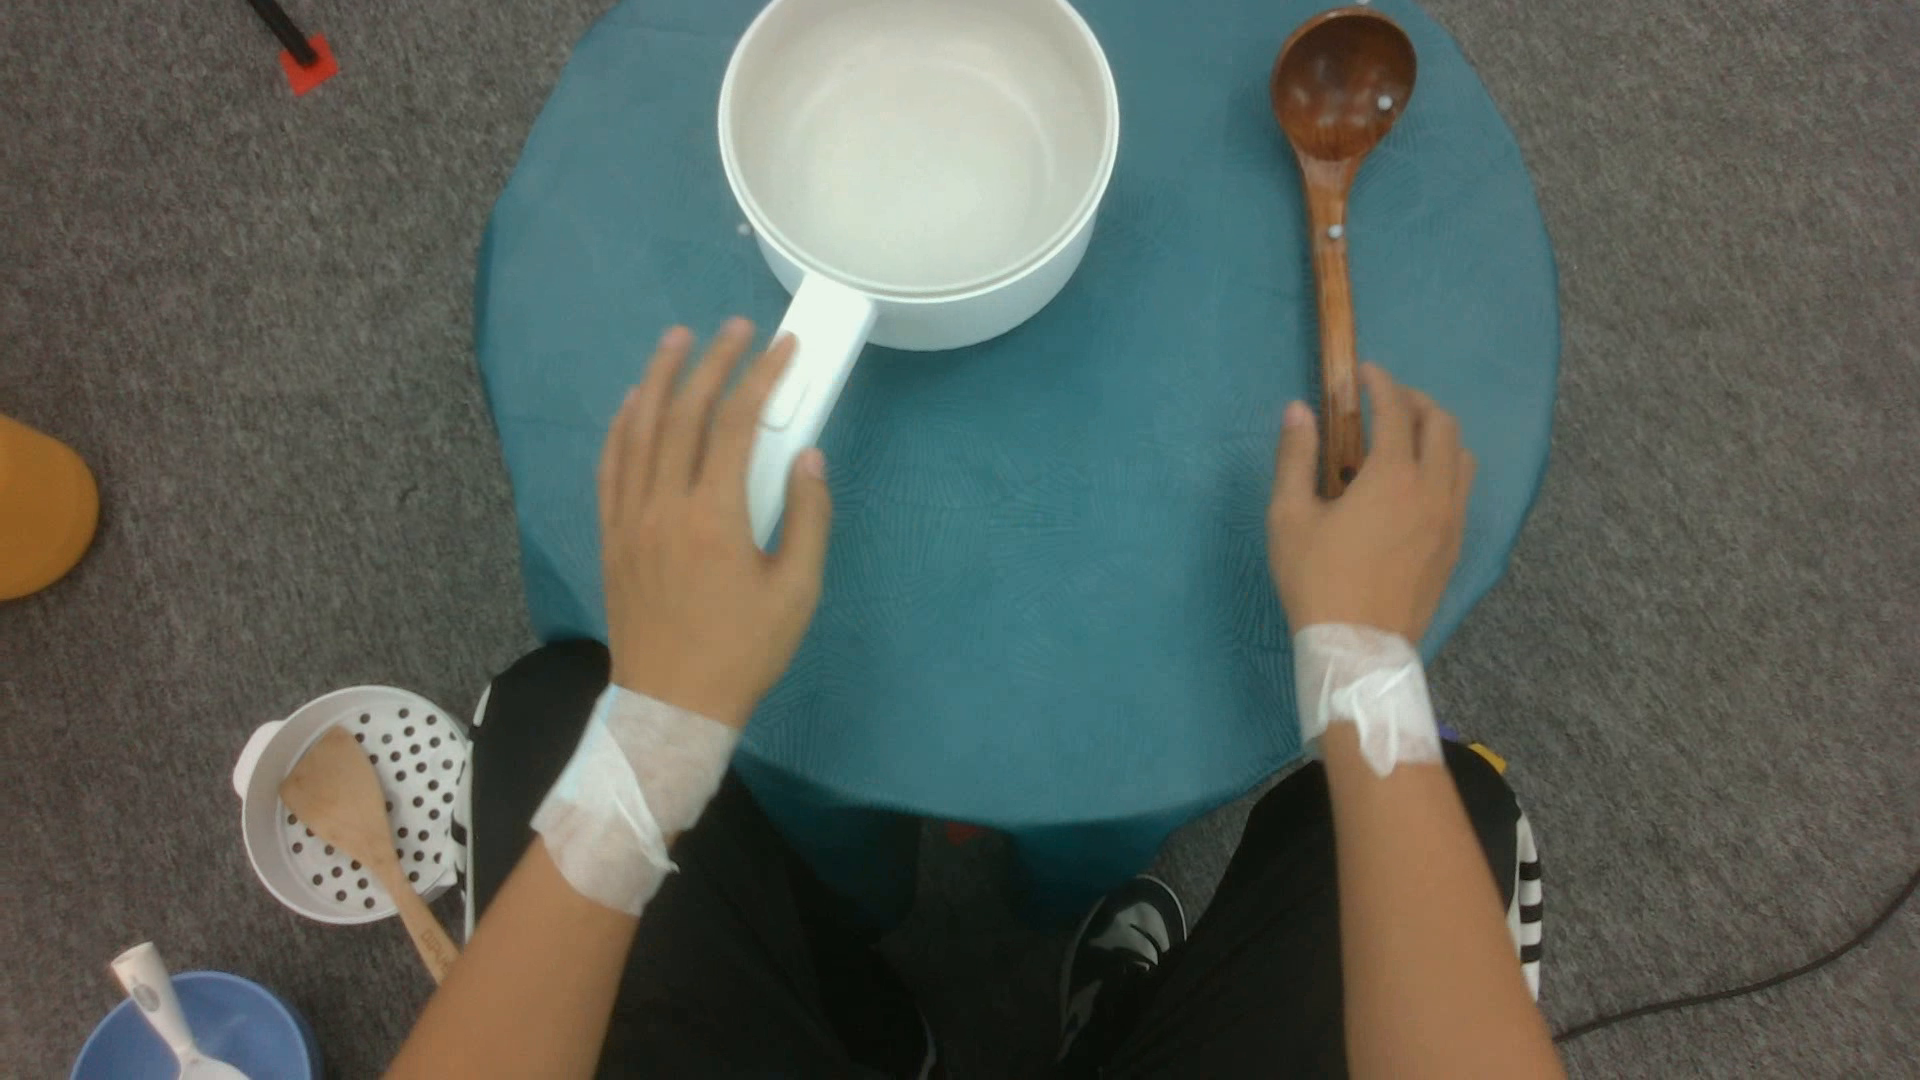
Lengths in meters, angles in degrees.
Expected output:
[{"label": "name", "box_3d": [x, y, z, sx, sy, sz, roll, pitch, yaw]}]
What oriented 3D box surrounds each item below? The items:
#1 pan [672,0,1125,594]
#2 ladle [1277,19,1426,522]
[{"label": "pan", "box_3d": [-0.046, -0.130, 0.735, 0.201, 0.102, 0.355, 23, 77, 6]}, {"label": "ladle", "box_3d": [0.214, -0.150, 0.748, 0.082, 0.076, 0.275, 3, 74, 0]}]
